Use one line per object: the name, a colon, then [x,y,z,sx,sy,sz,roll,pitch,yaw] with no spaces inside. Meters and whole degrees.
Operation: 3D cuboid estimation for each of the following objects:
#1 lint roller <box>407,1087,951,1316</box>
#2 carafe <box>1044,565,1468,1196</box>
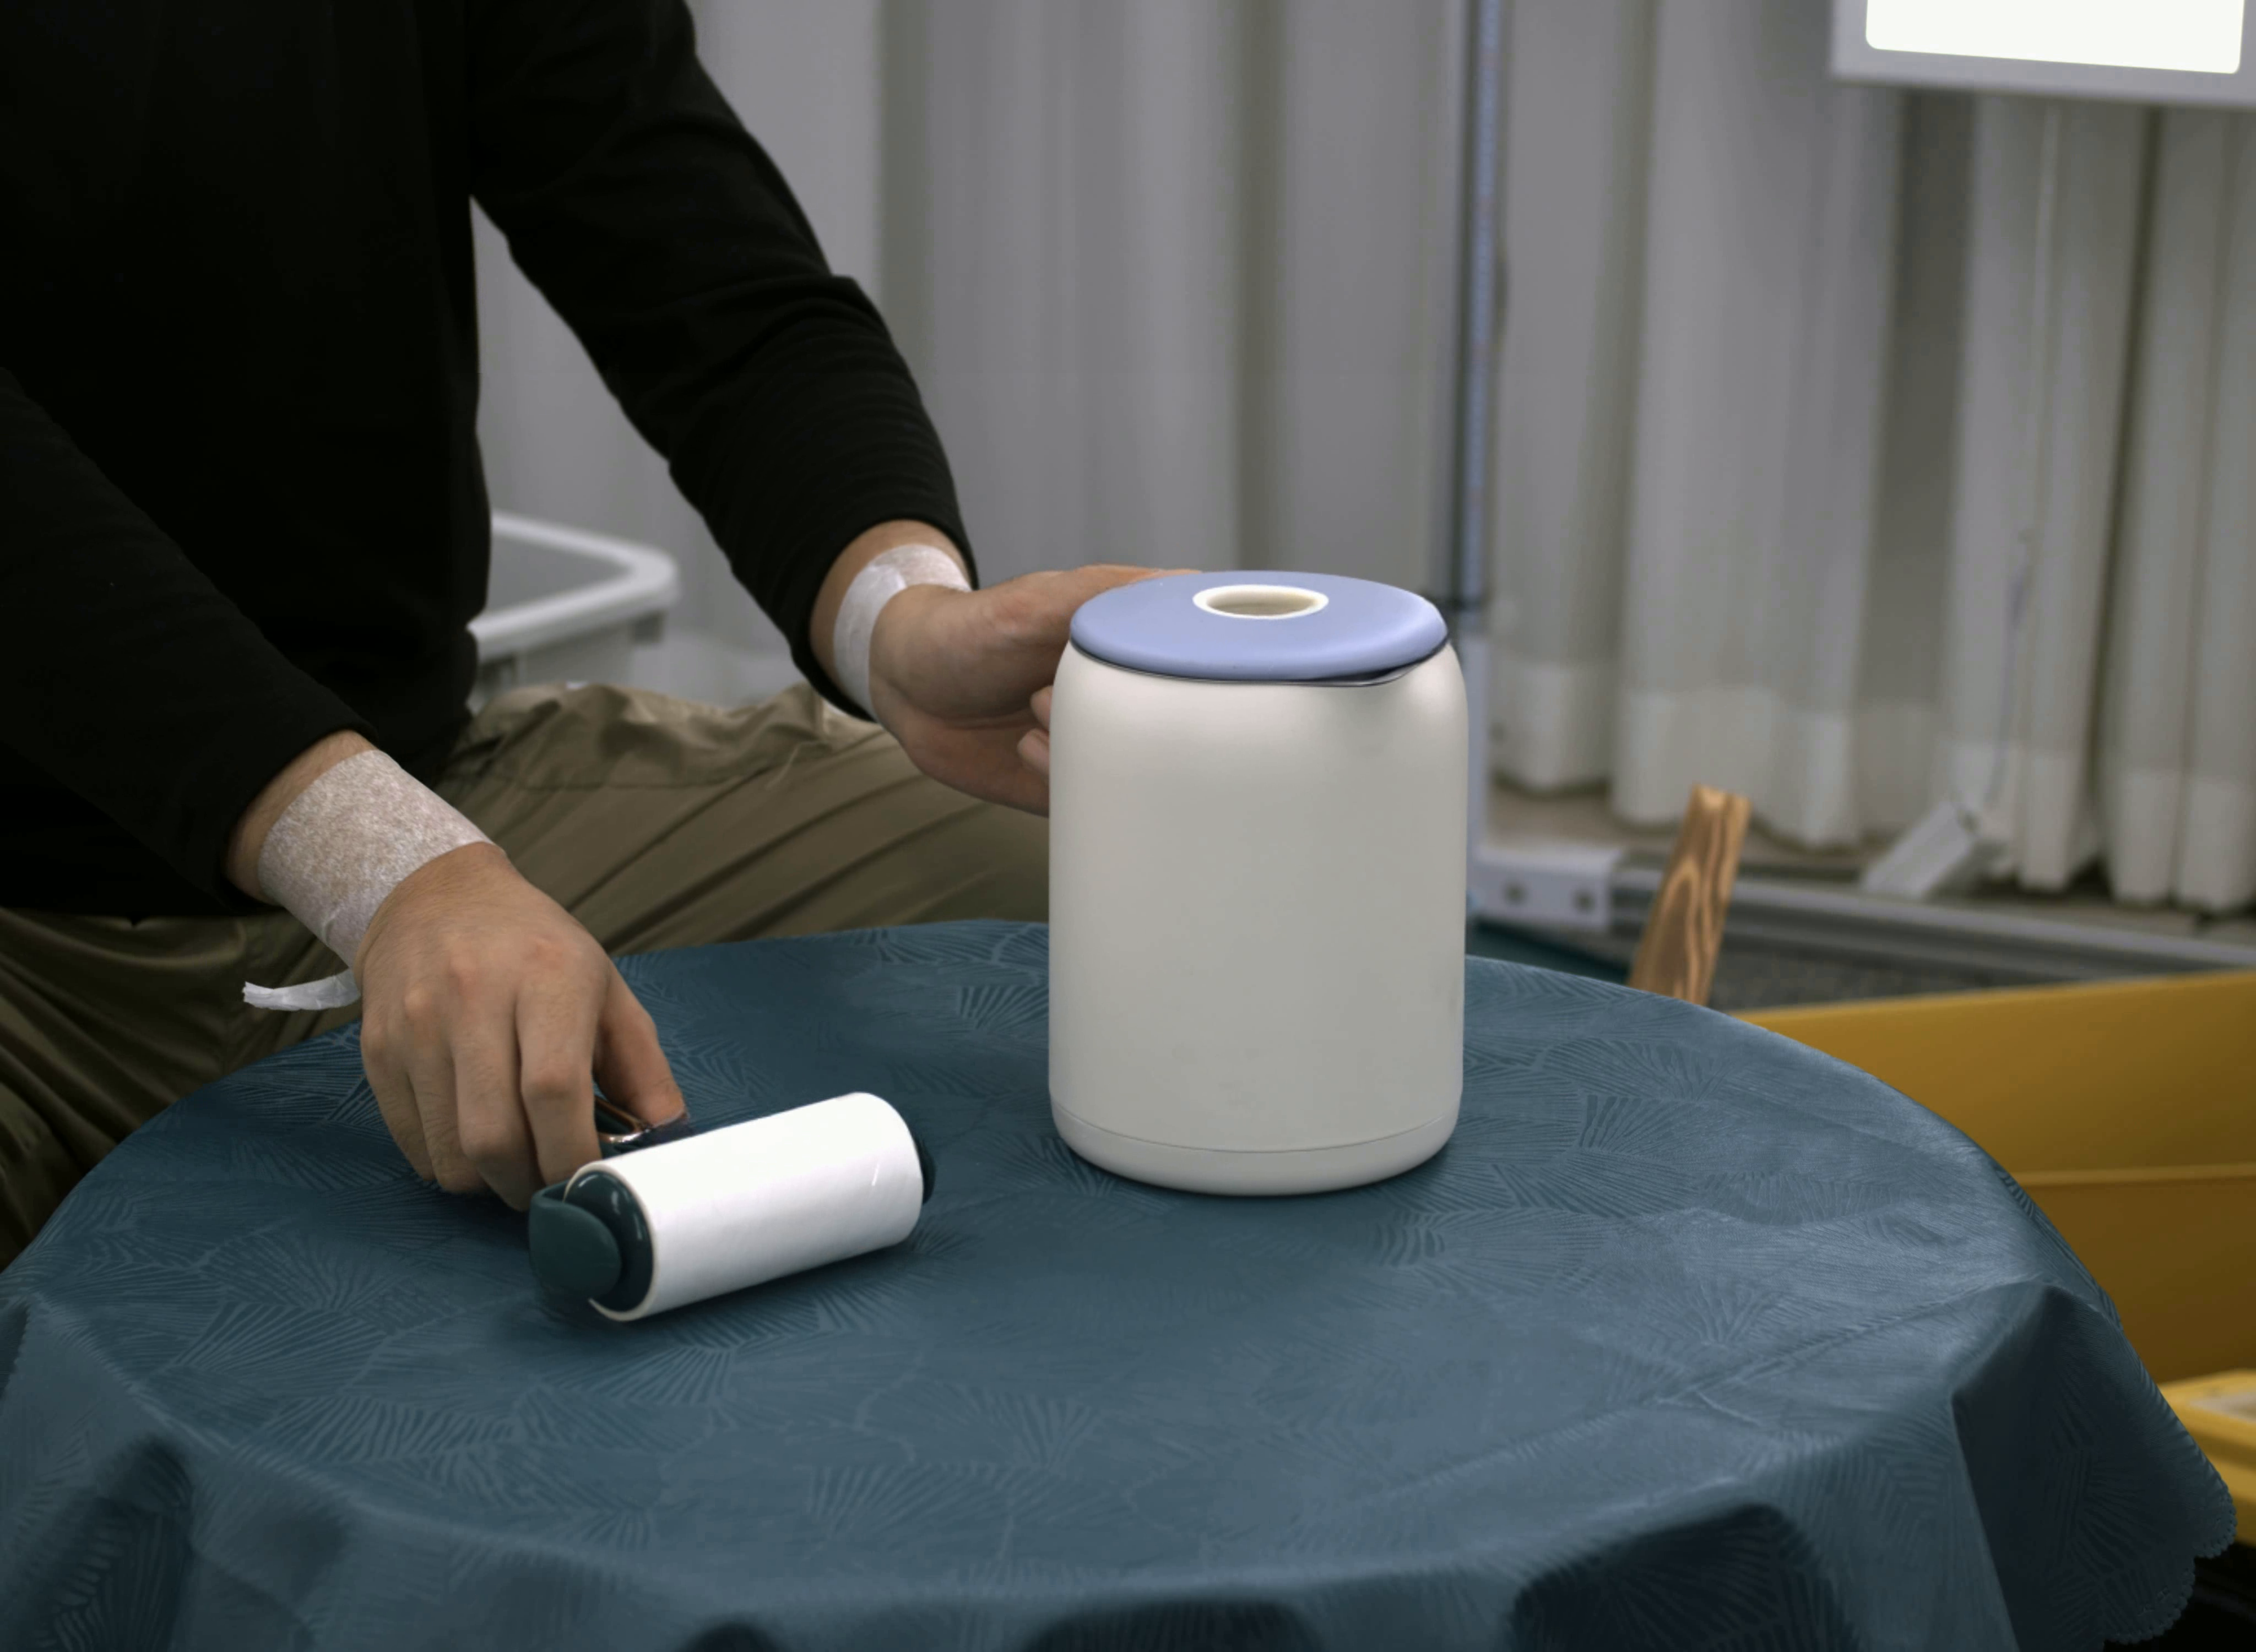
lint roller: [-0.158,0.090,1.579,0.135,0.049,0.177,-13,26,-41]
carafe: [0.028,0.011,1.666,0.133,0.184,0.188,-9,16,-30]
